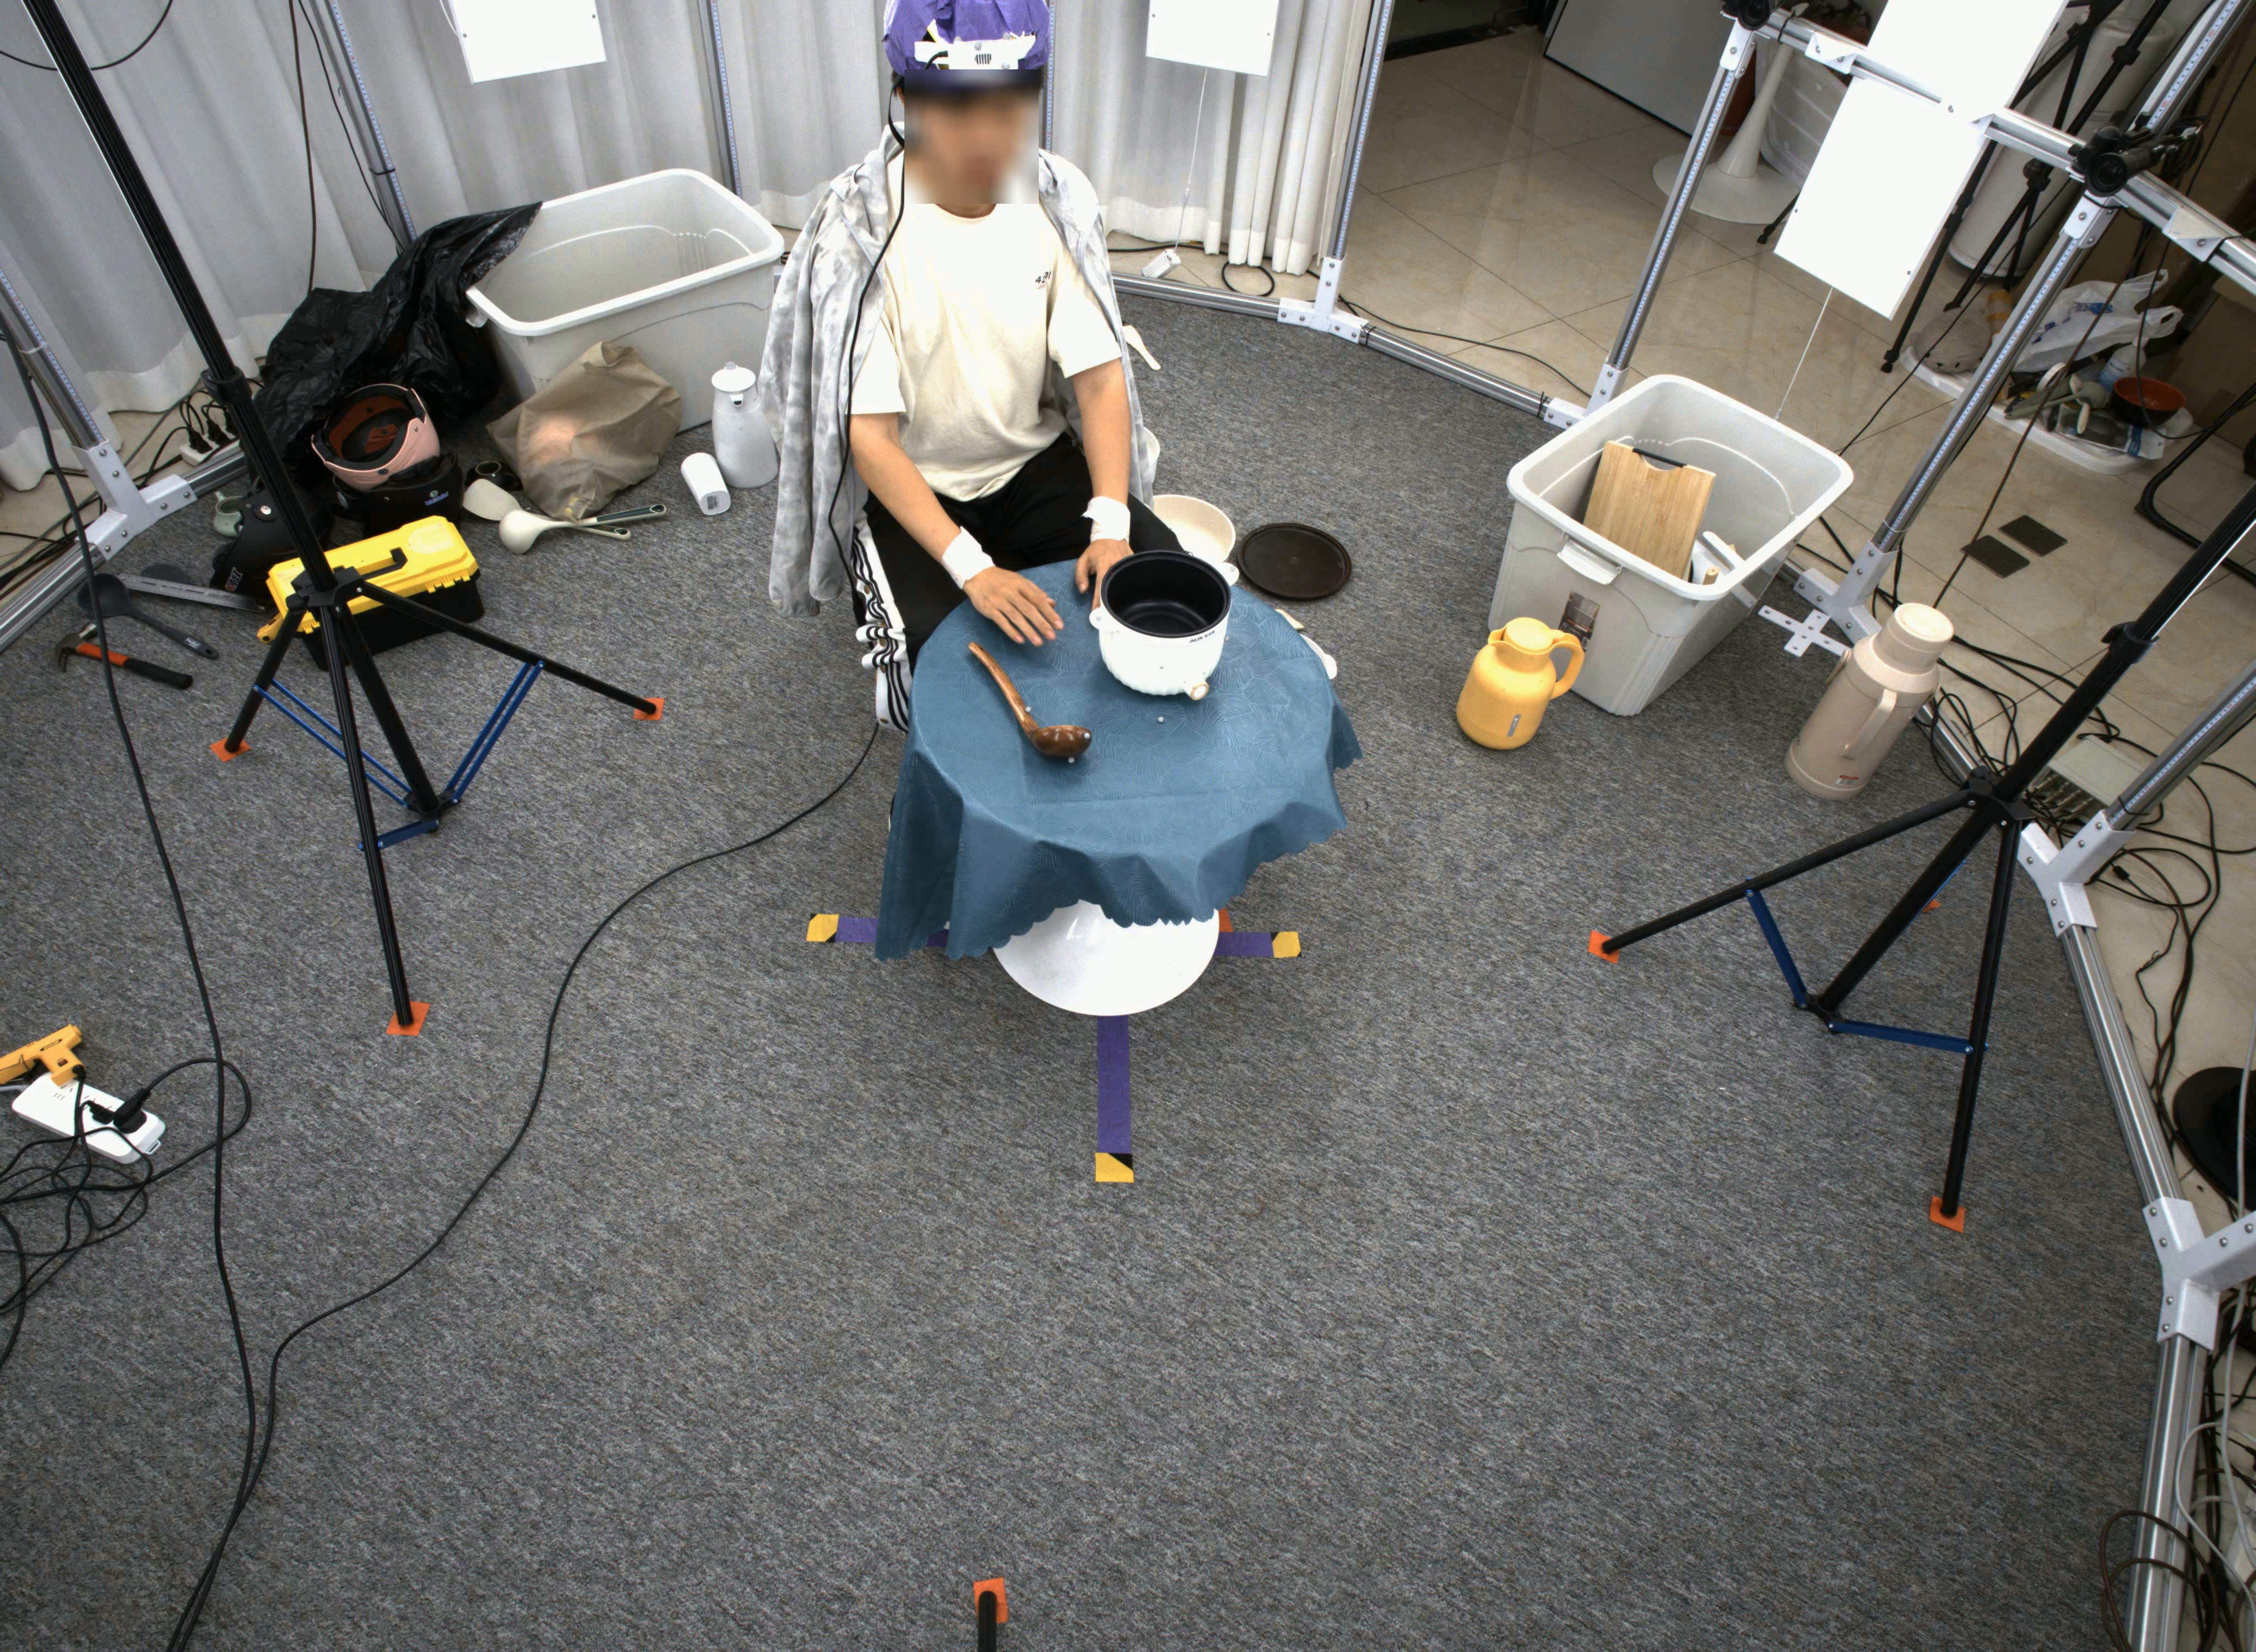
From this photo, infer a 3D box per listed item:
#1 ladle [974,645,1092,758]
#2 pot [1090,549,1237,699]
[{"bbox_3d":[-0.137,-0.188,1.773,0.080,0.076,0.280,25,25,-48],"label":"ladle"},{"bbox_3d":[0.053,-0.278,1.817,0.241,0.139,0.194,-25,52,-22],"label":"pot"}]
